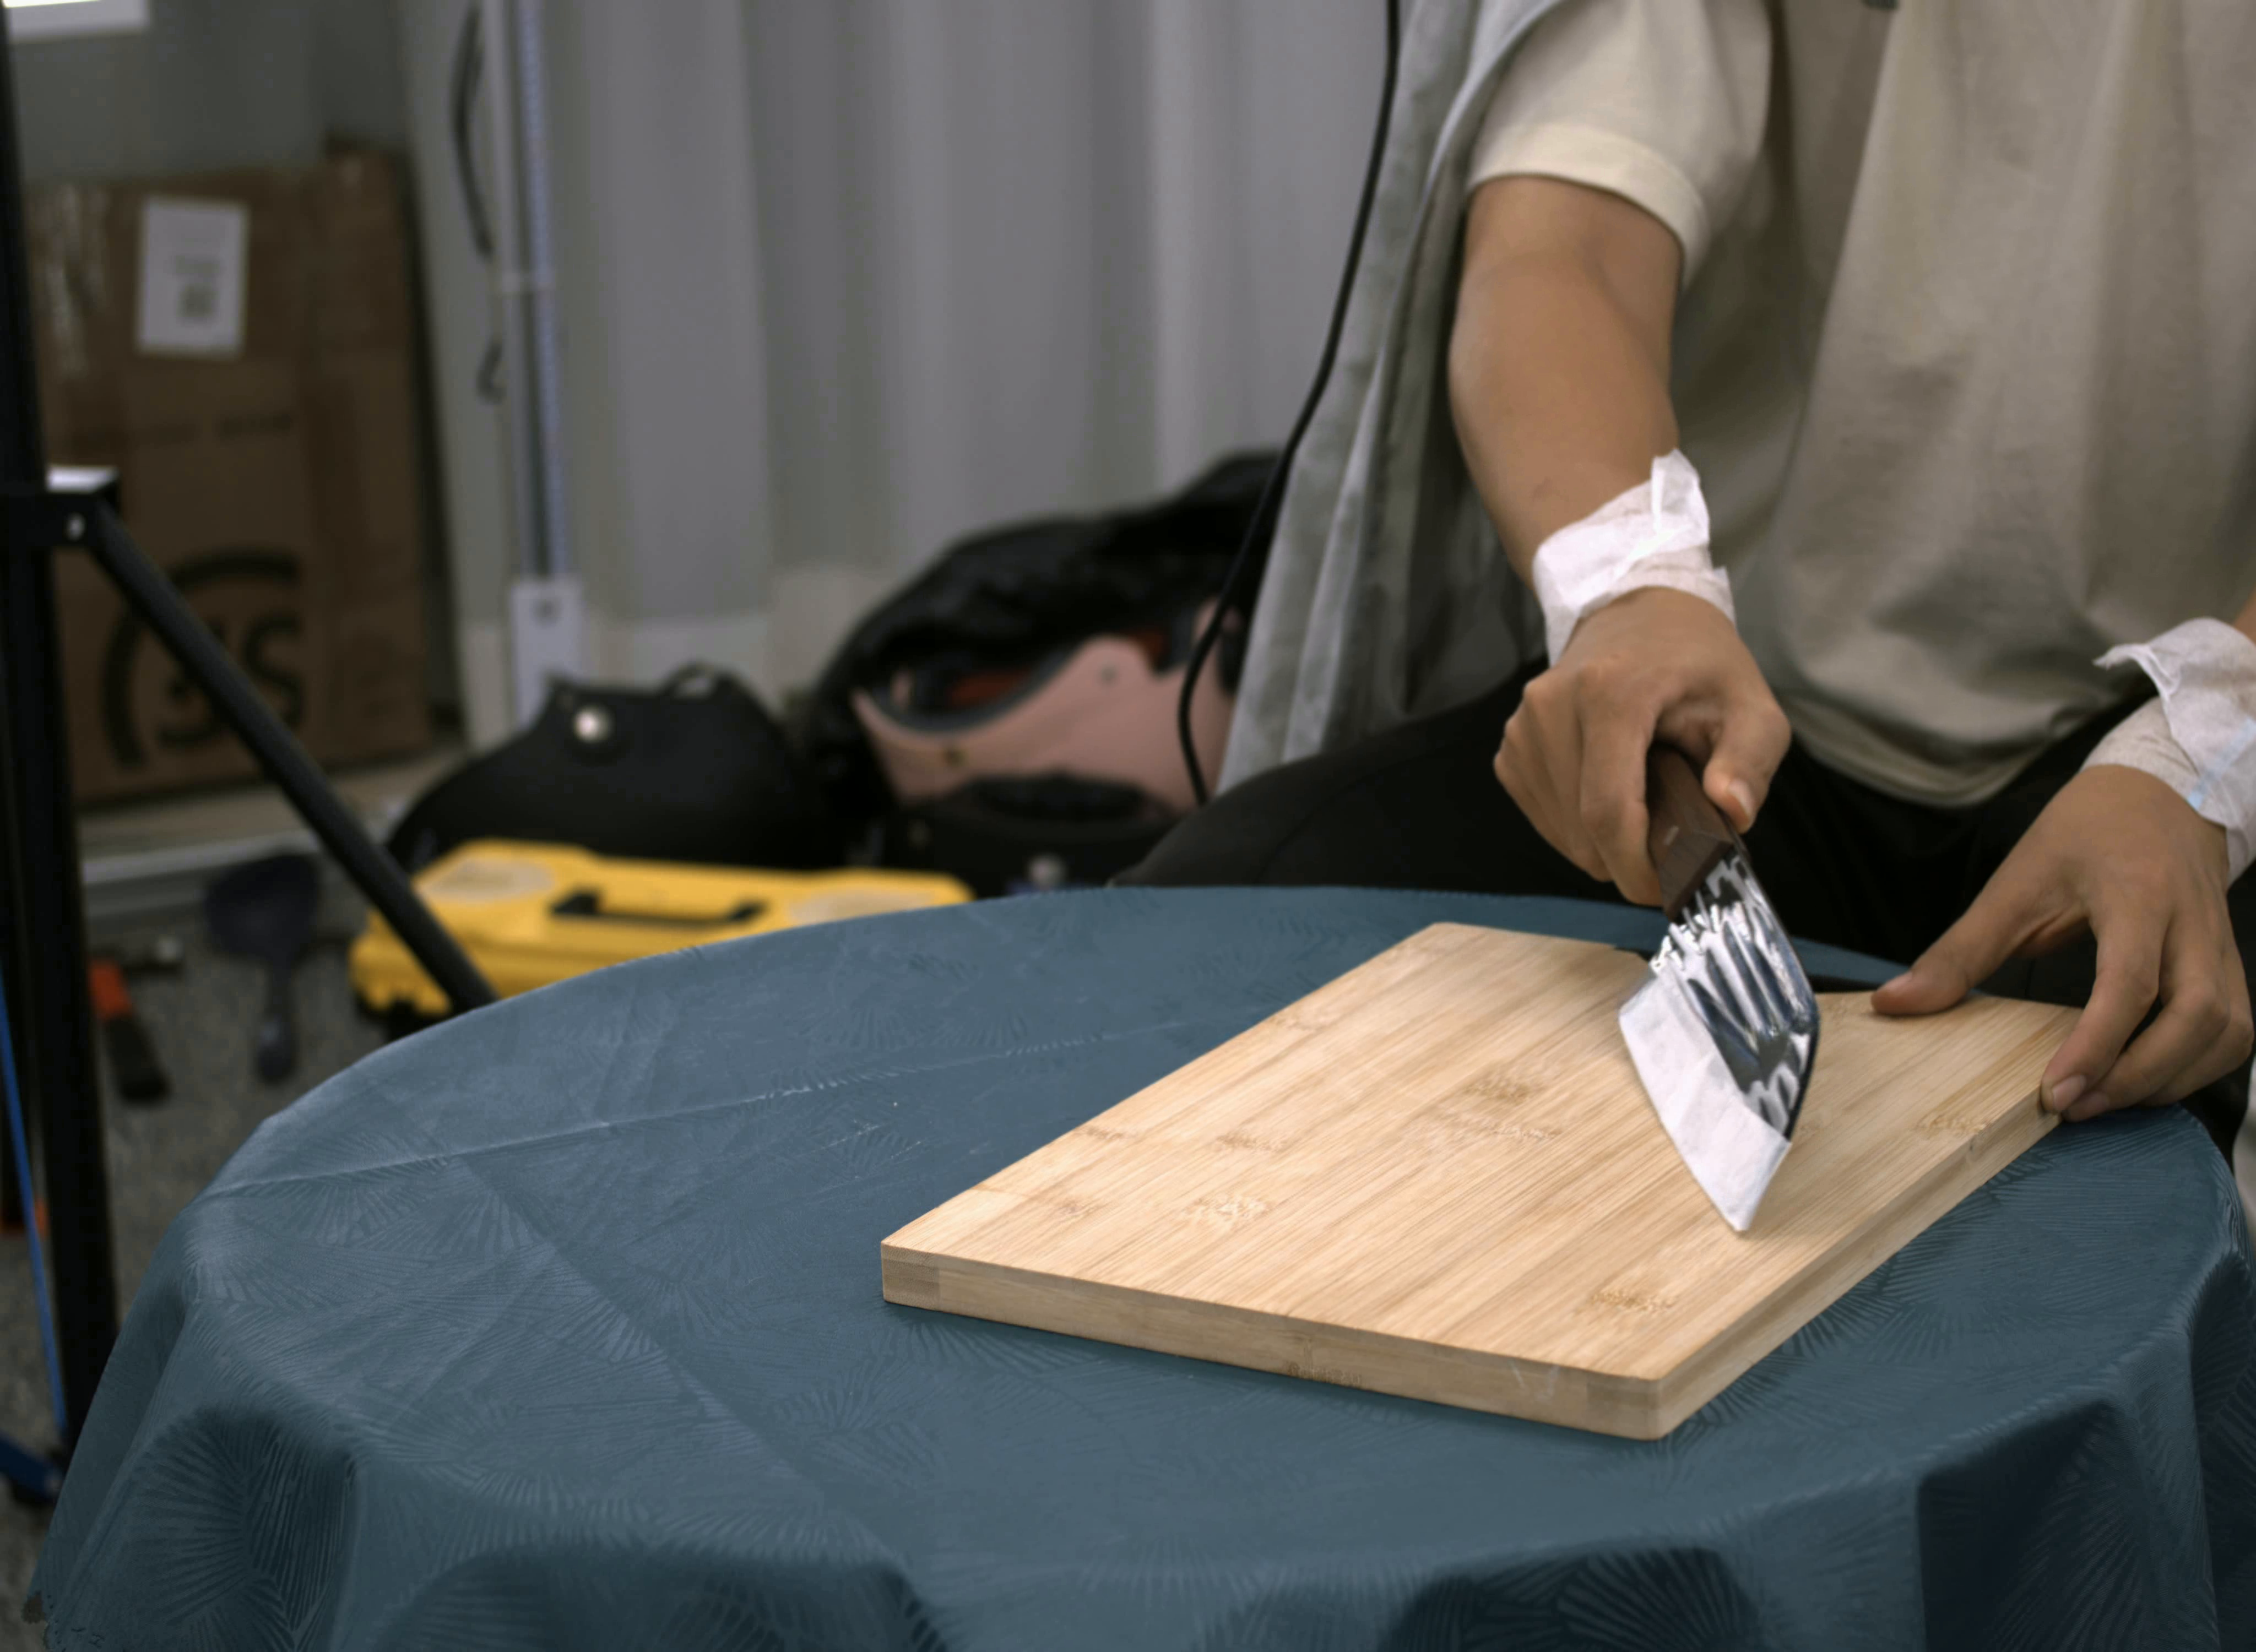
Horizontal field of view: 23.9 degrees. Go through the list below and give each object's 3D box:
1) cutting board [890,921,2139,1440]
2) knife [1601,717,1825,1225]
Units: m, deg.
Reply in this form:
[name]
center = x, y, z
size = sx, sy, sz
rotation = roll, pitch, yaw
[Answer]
[cutting board]
center = 0.122, 0.095, 1.553
size = 0.255, 0.023, 0.342
rotation = 7, 18, 30
[knife]
center = 0.169, 0.039, 1.580
size = 0.023, 0.068, 0.302
rotation = 29, 15, -14
